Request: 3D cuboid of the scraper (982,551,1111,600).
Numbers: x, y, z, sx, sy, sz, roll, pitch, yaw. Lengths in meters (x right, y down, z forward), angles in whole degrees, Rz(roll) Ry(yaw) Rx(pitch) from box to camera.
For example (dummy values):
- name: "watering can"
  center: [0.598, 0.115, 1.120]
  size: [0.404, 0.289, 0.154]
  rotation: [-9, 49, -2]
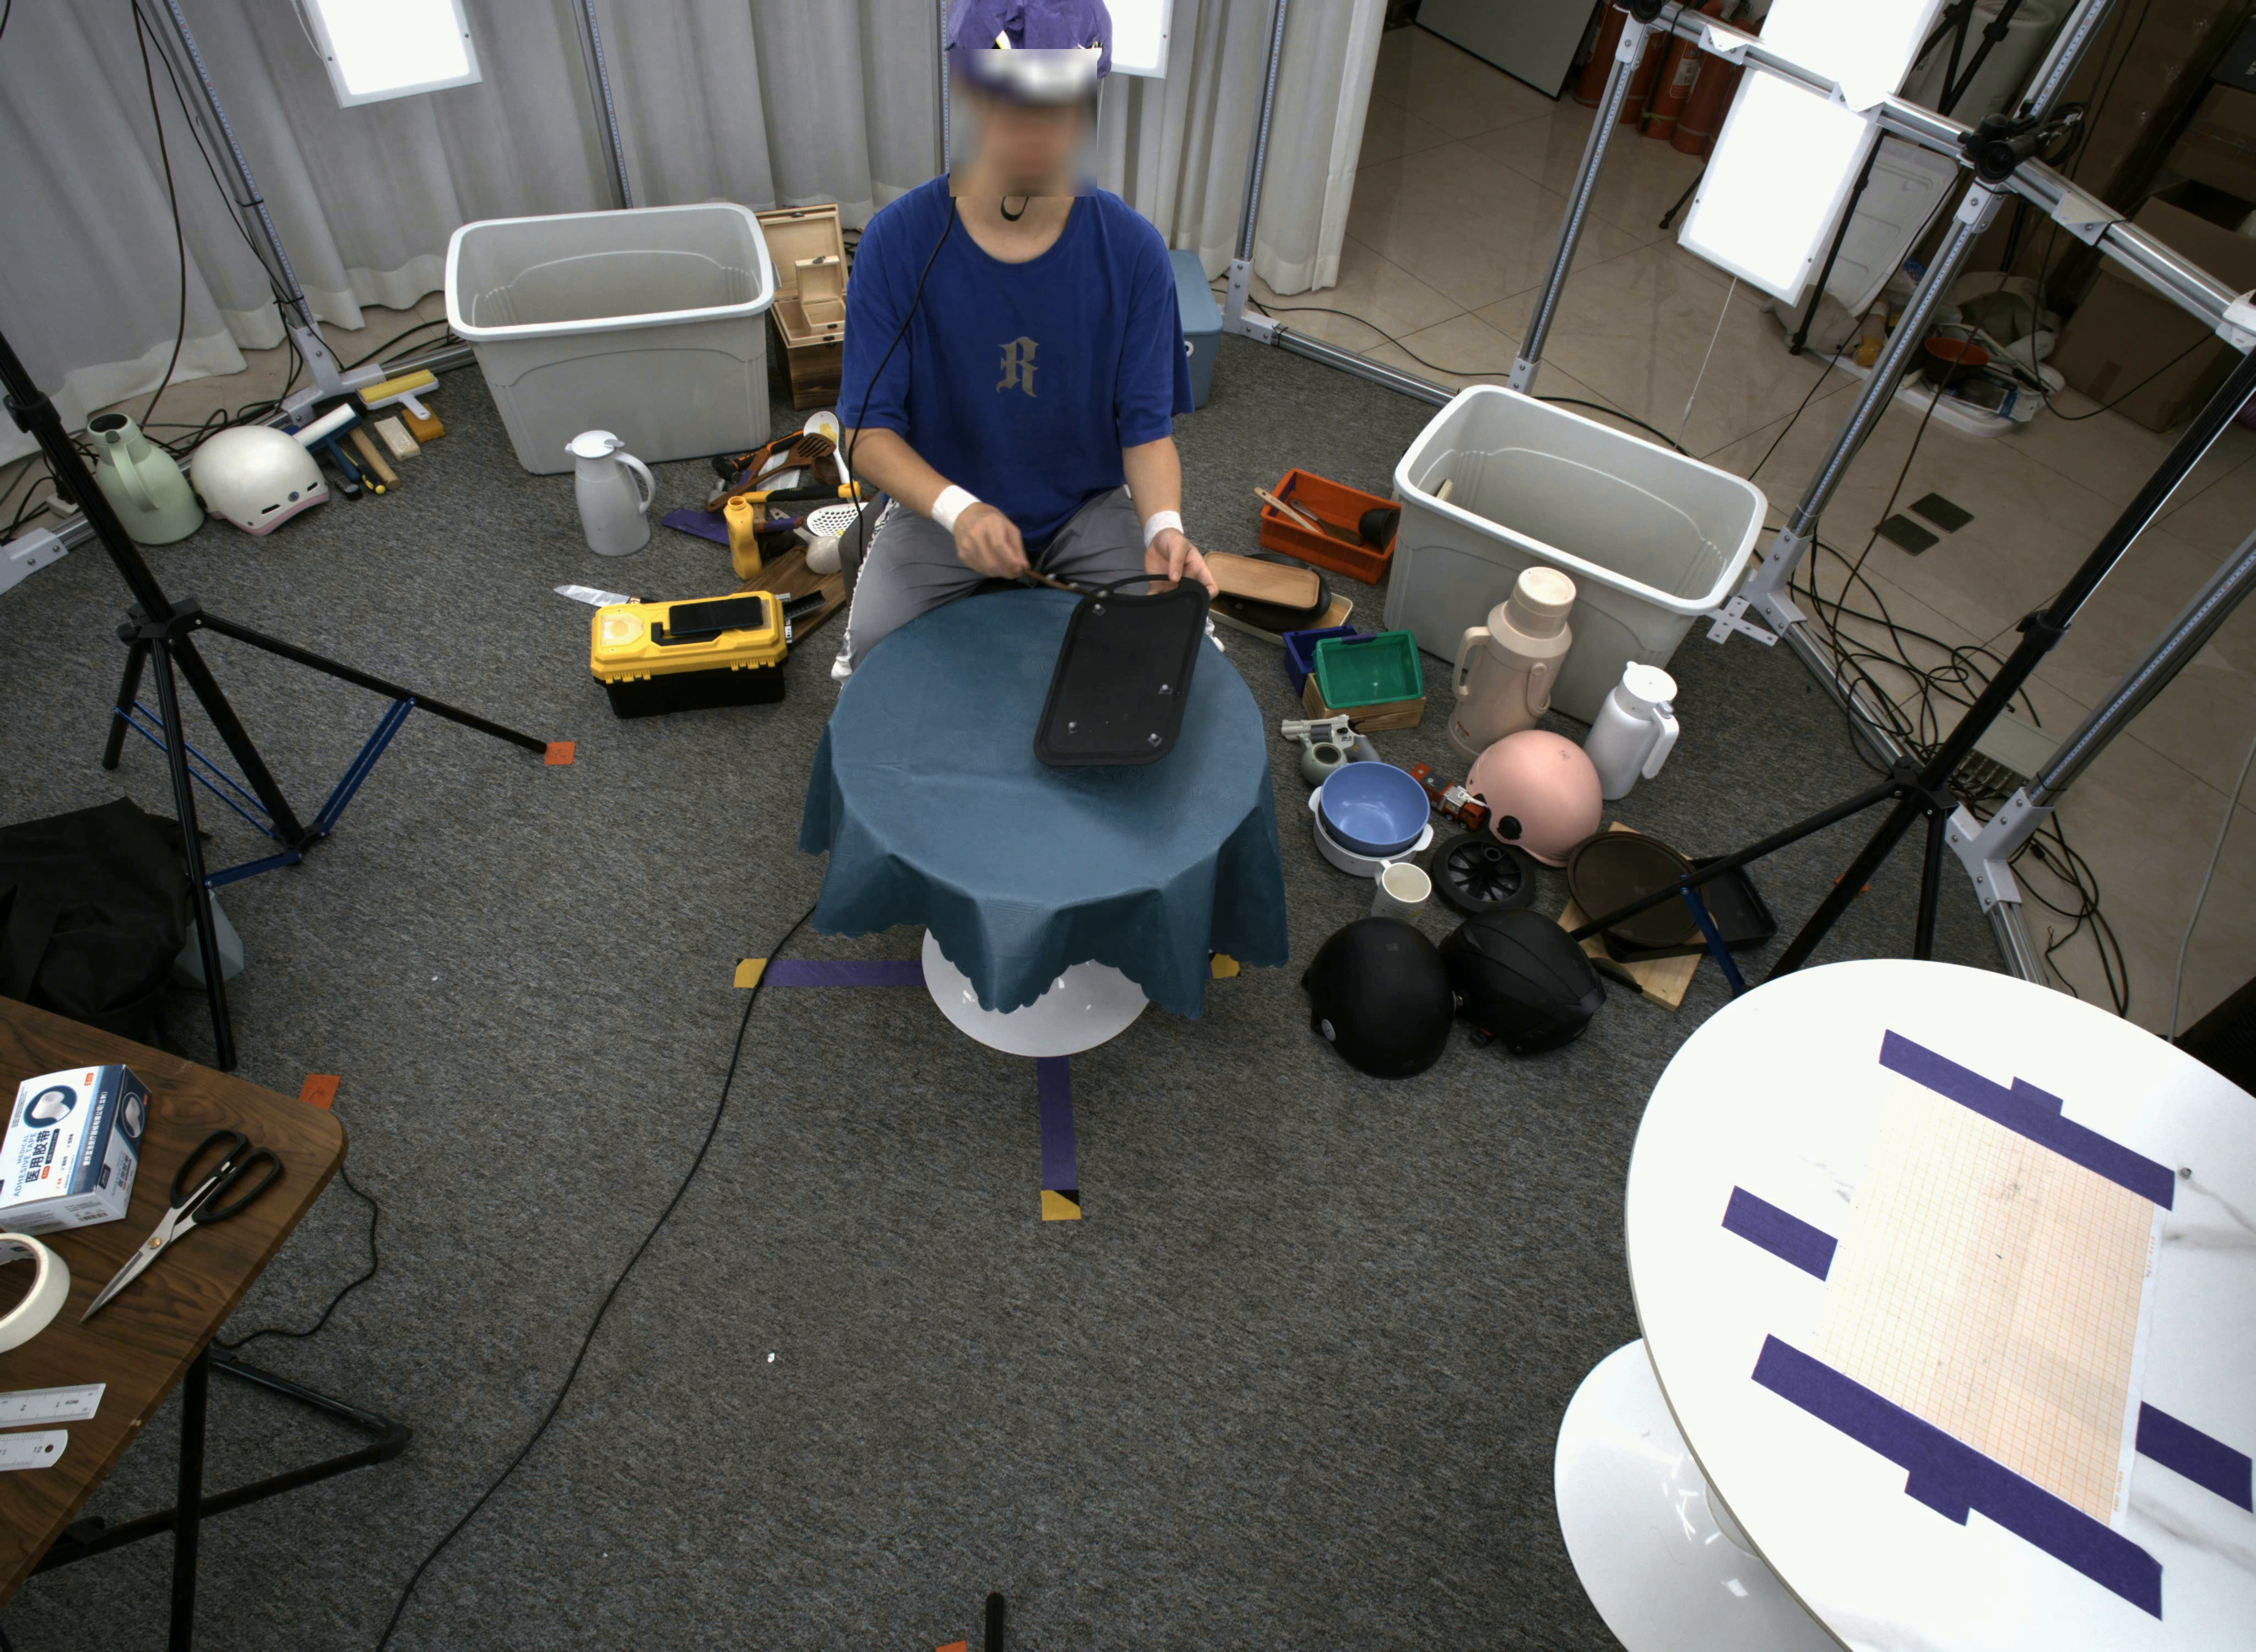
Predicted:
- name: "scraper"
  center: [-0.117, -0.339, 1.737]
  size: [0.214, 0.011, 0.075]
  rotation: [27, 14, 34]

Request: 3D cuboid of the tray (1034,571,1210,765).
- name: "tray"
  center: [-0.007, -0.221, 1.746]
  size: [0.212, 0.009, 0.332]
  rotation: [0, 58, 25]
